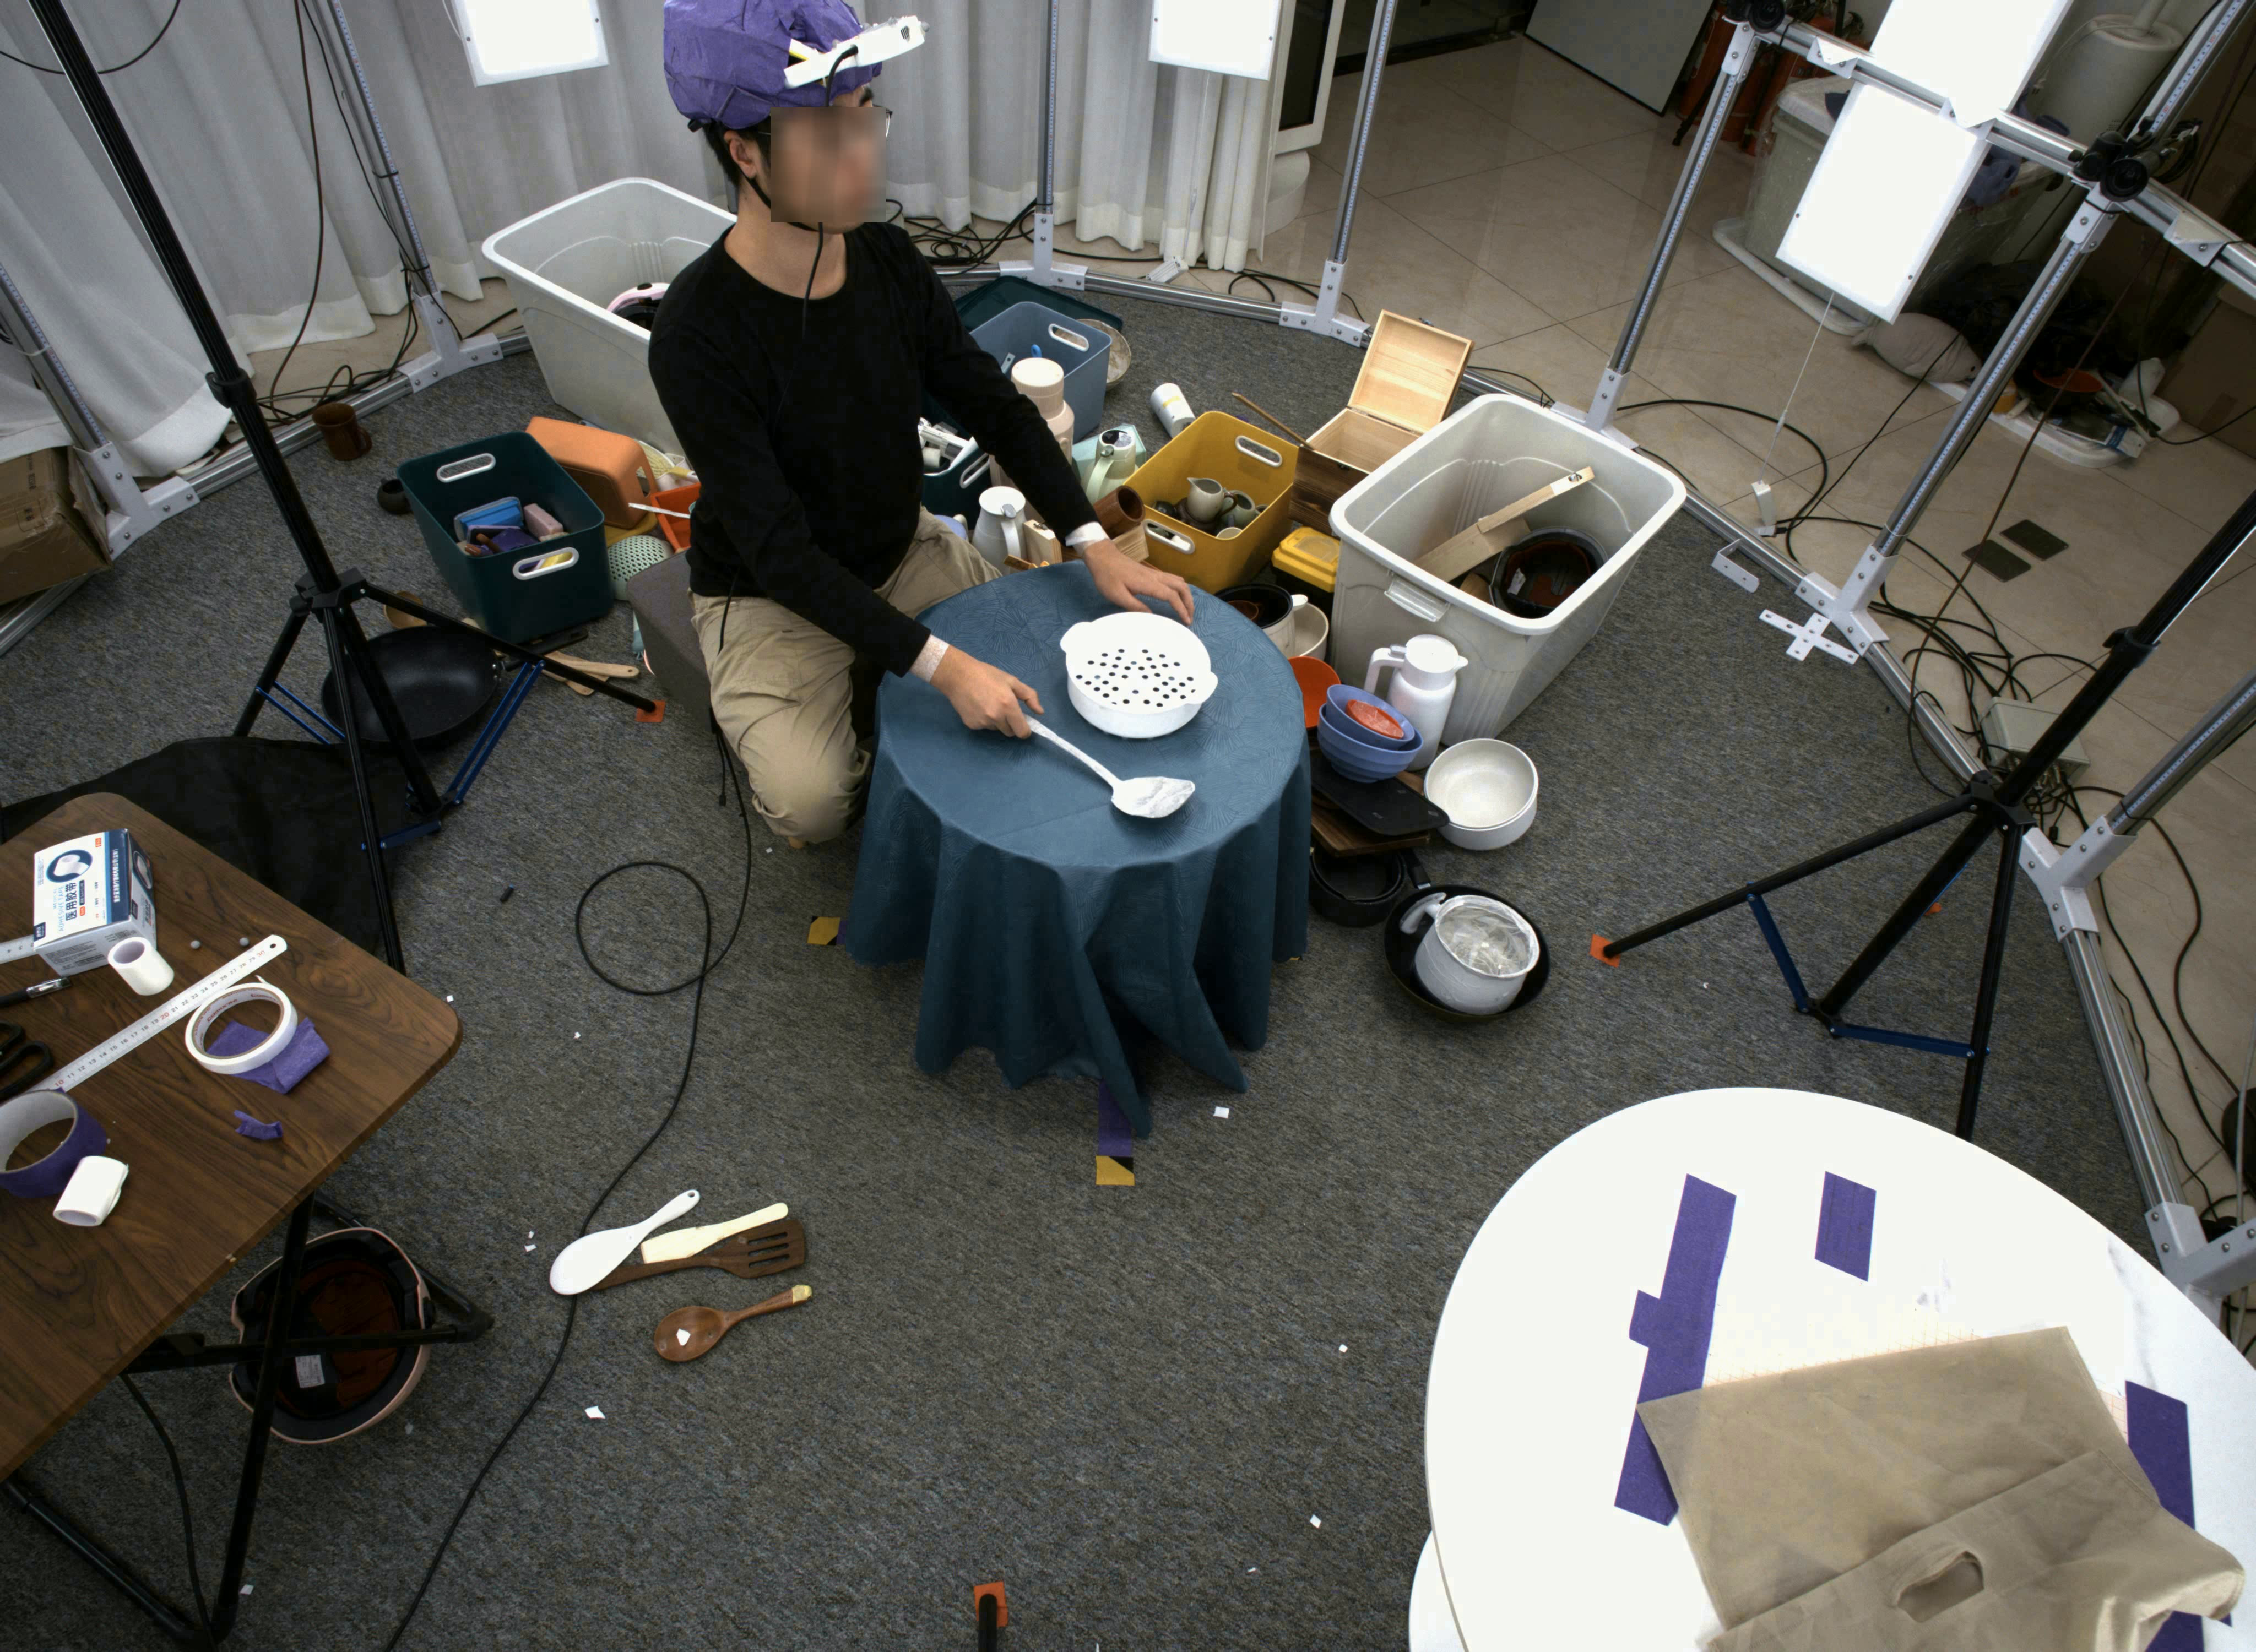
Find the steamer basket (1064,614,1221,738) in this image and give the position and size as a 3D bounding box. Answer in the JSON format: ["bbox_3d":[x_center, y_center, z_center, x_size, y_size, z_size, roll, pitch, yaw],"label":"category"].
[{"bbox_3d":[0.017,-0.210,1.808,0.232,0.067,0.205,24,51,17],"label":"steamer basket"}]

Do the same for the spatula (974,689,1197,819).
[{"bbox_3d":[-0.074,-0.108,1.728,0.369,0.044,0.100,33,49,20],"label":"spatula"}]
